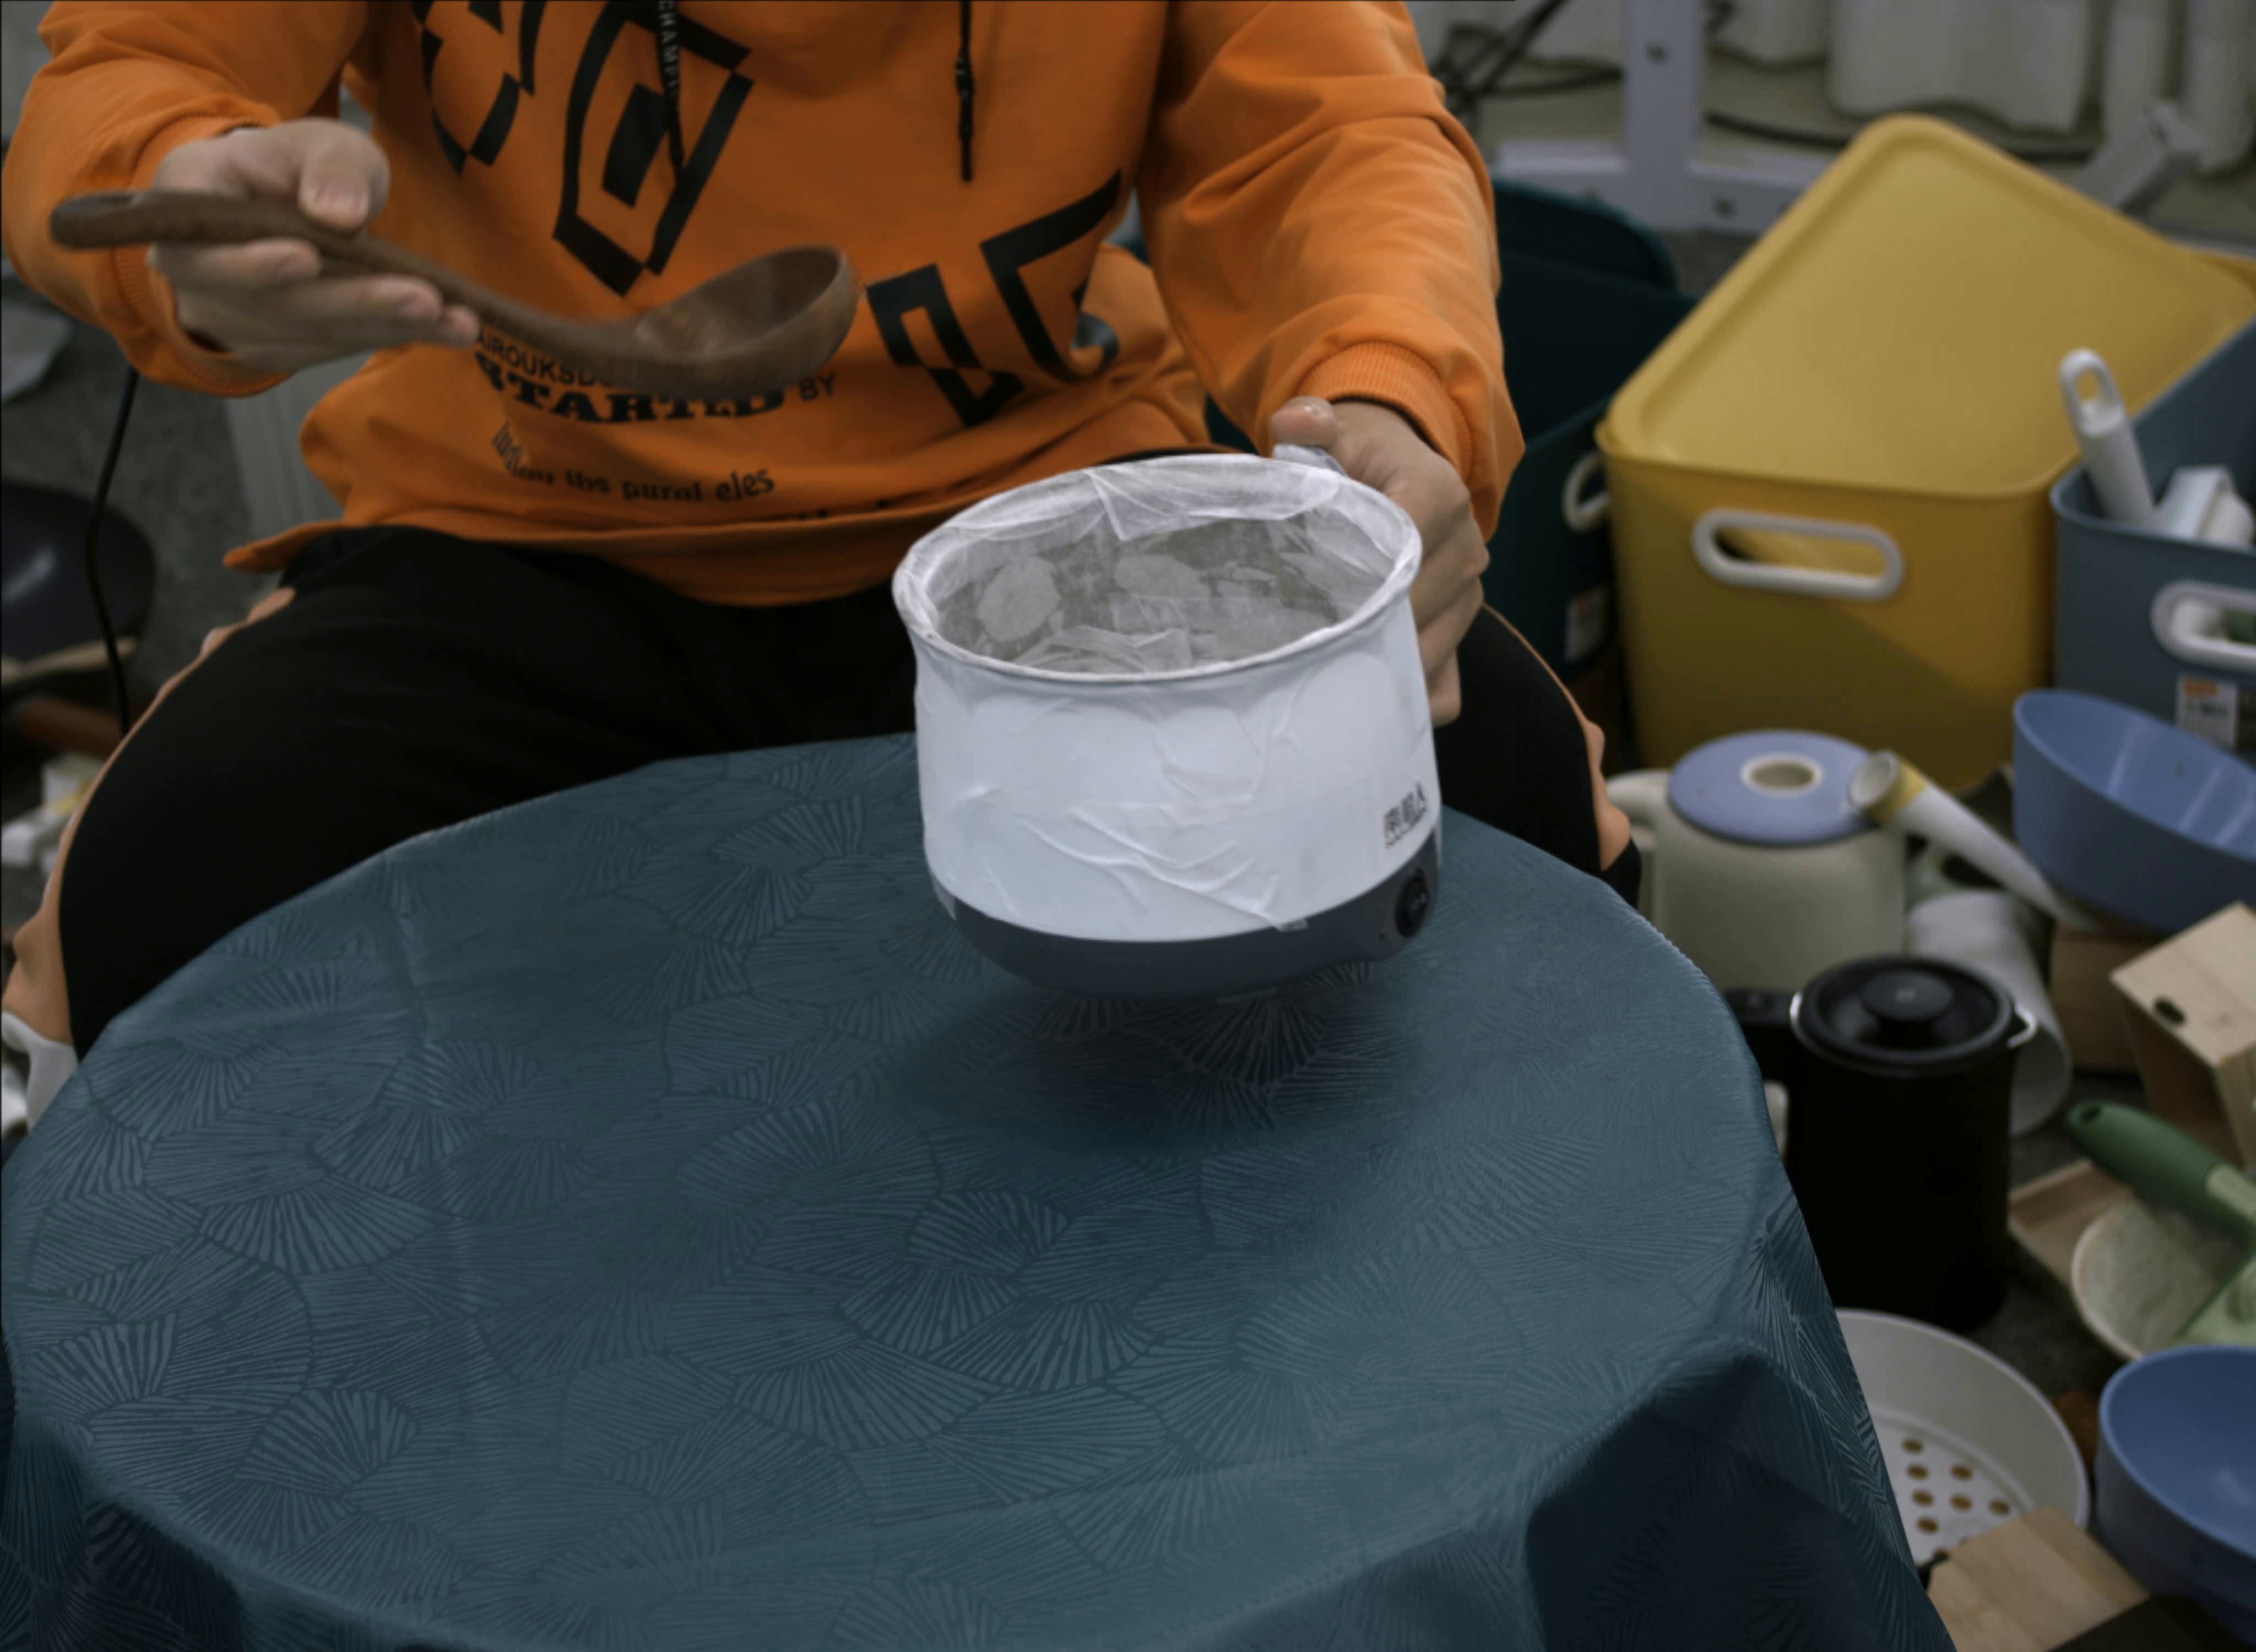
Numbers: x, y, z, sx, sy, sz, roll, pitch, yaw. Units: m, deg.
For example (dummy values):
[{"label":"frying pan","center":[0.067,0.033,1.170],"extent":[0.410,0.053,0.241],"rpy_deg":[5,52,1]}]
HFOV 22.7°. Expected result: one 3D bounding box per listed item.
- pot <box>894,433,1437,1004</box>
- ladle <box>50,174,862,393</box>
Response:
[{"label":"pot","center":[0.027,-0.044,1.924],"extent":[0.177,0.135,0.237],"rpy_deg":[9,30,27]},{"label":"ladle","center":[-0.213,-0.190,1.820],"extent":[0.259,0.065,0.077],"rpy_deg":[14,14,-16]}]
